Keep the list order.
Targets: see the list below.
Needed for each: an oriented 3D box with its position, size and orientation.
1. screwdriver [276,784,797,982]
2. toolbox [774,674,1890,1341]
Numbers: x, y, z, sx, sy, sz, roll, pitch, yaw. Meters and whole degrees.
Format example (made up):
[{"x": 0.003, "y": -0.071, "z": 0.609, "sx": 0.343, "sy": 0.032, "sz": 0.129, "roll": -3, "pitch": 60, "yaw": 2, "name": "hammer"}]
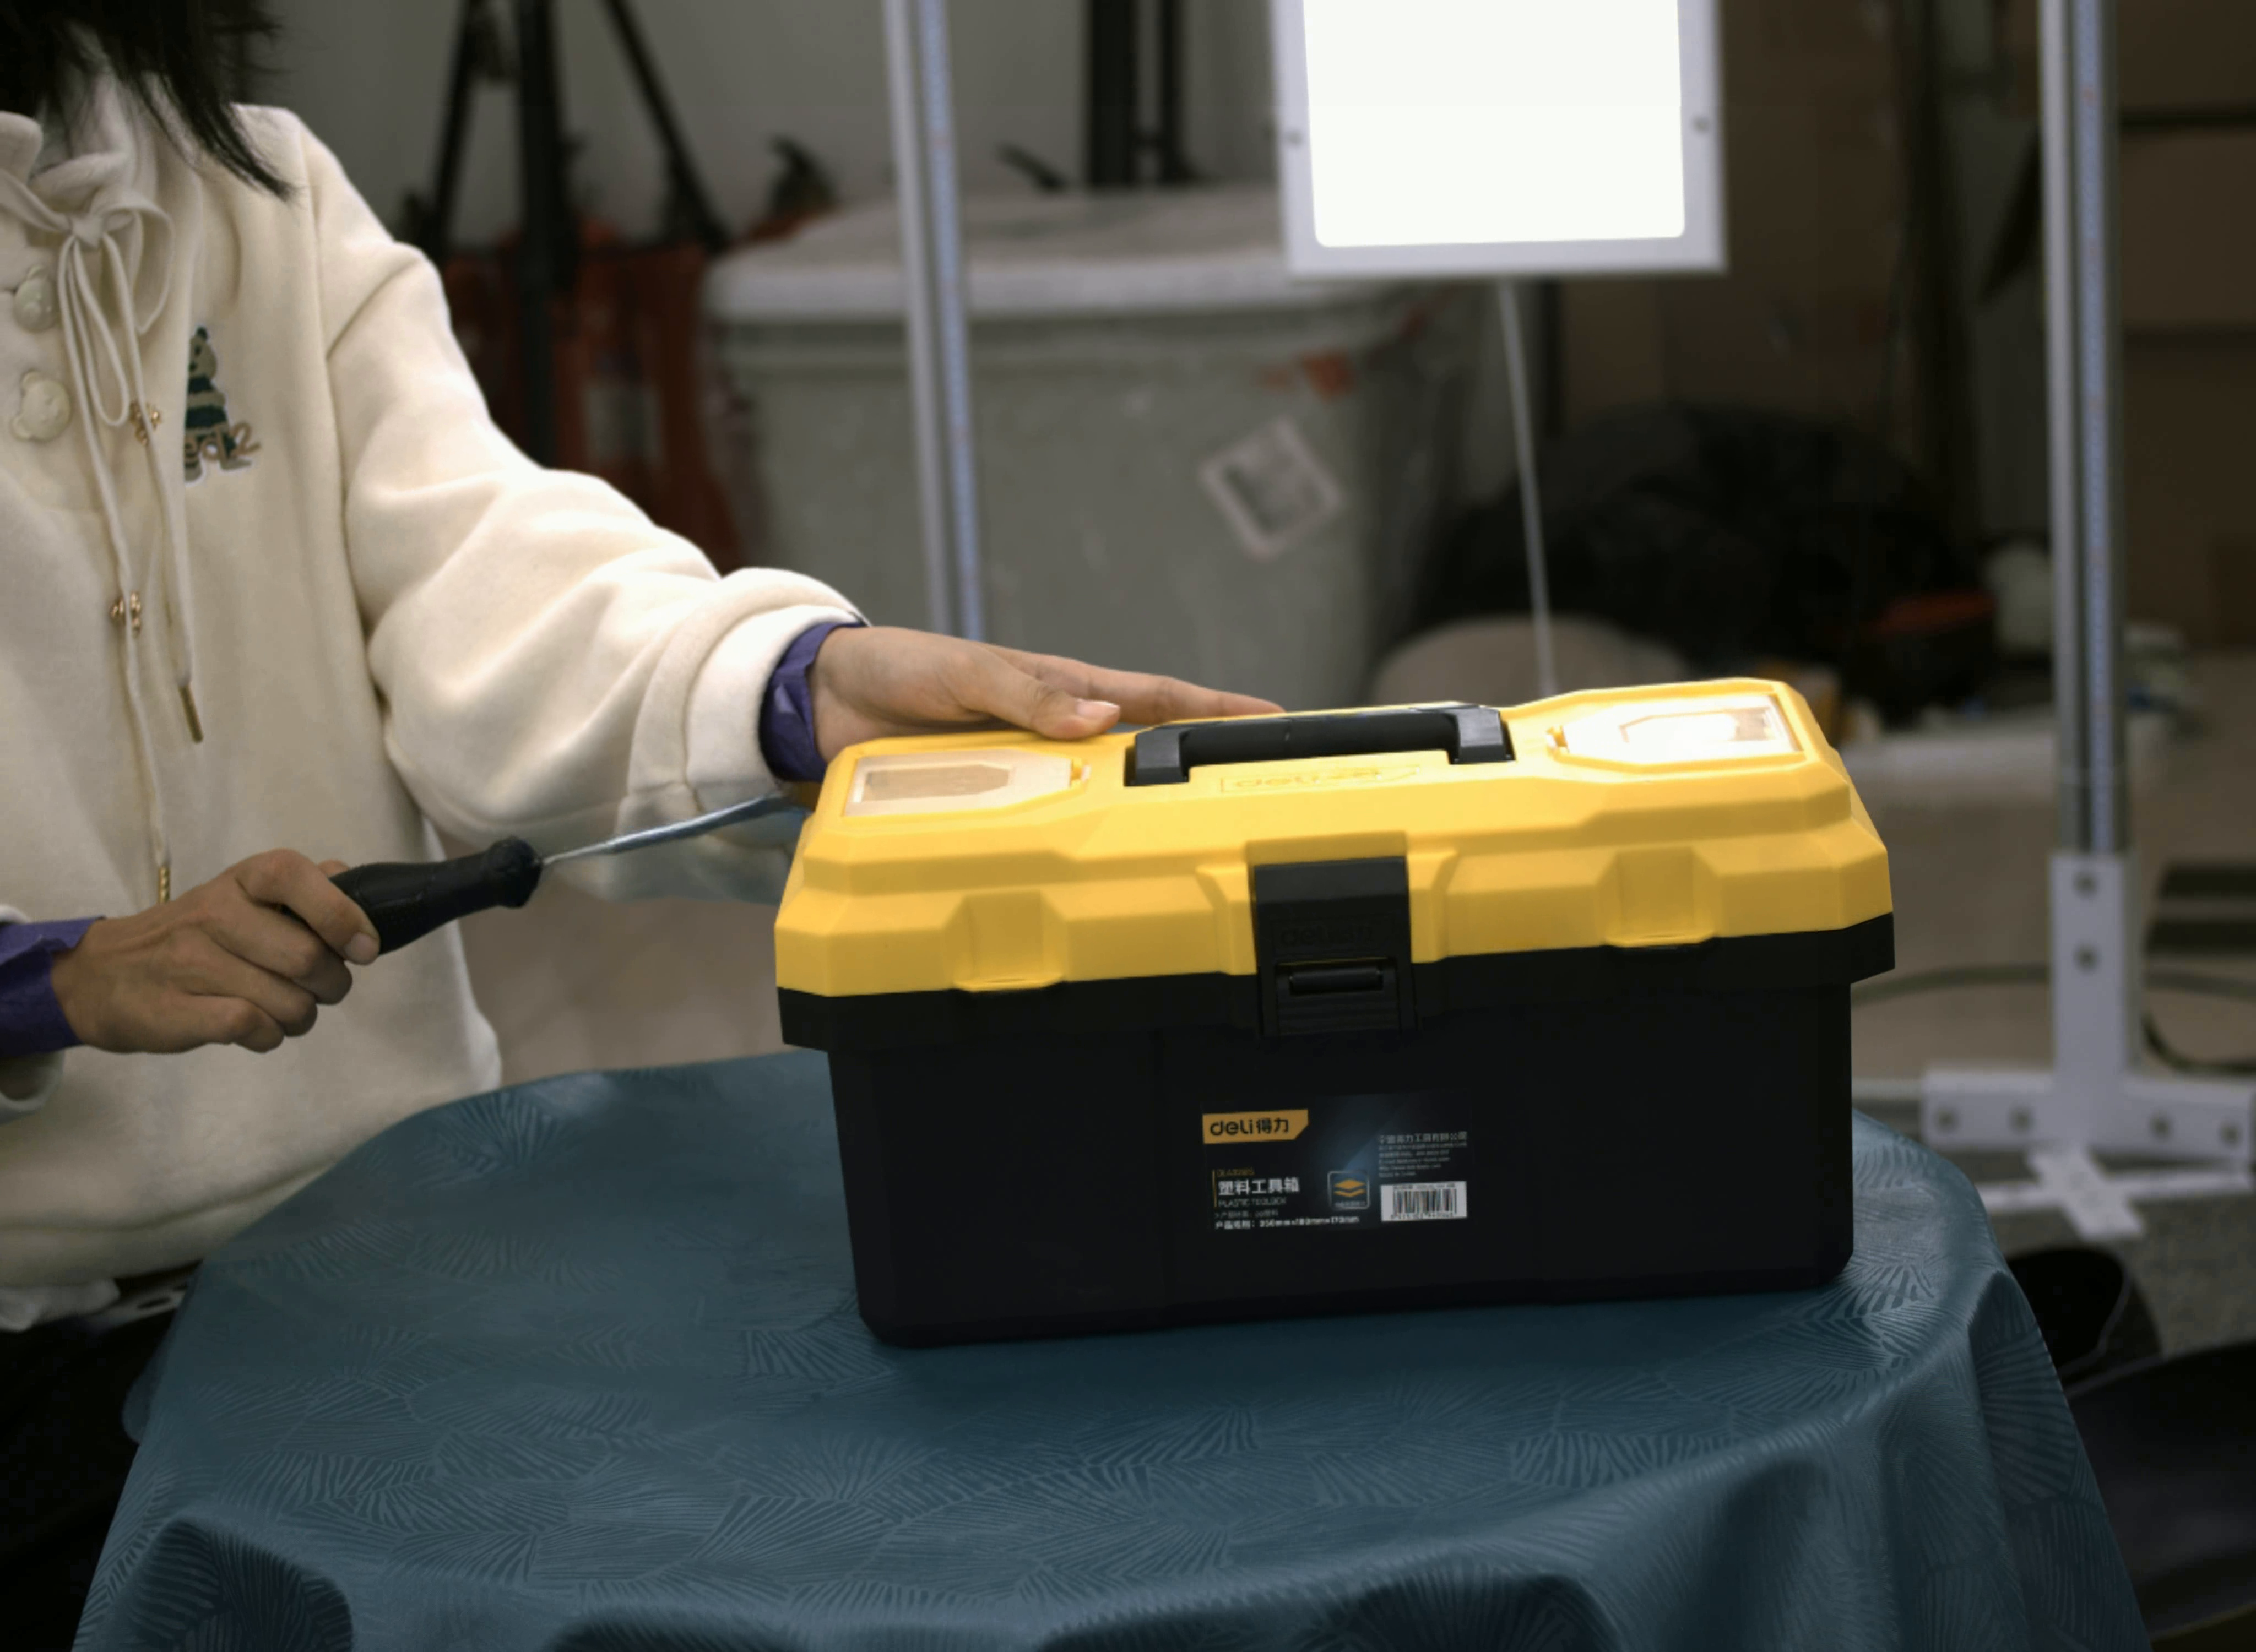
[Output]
[{"x": -0.195, "y": 0.020, "z": 1.831, "sx": 0.201, "sy": 0.031, "sz": 0.031, "roll": -14, "pitch": 10, "yaw": 22, "name": "screwdriver"}, {"x": 0.067, "y": 0.059, "z": 1.786, "sx": 0.352, "sy": 0.173, "sz": 0.180, "roll": -4, "pitch": 14, "yaw": 4, "name": "toolbox"}]
